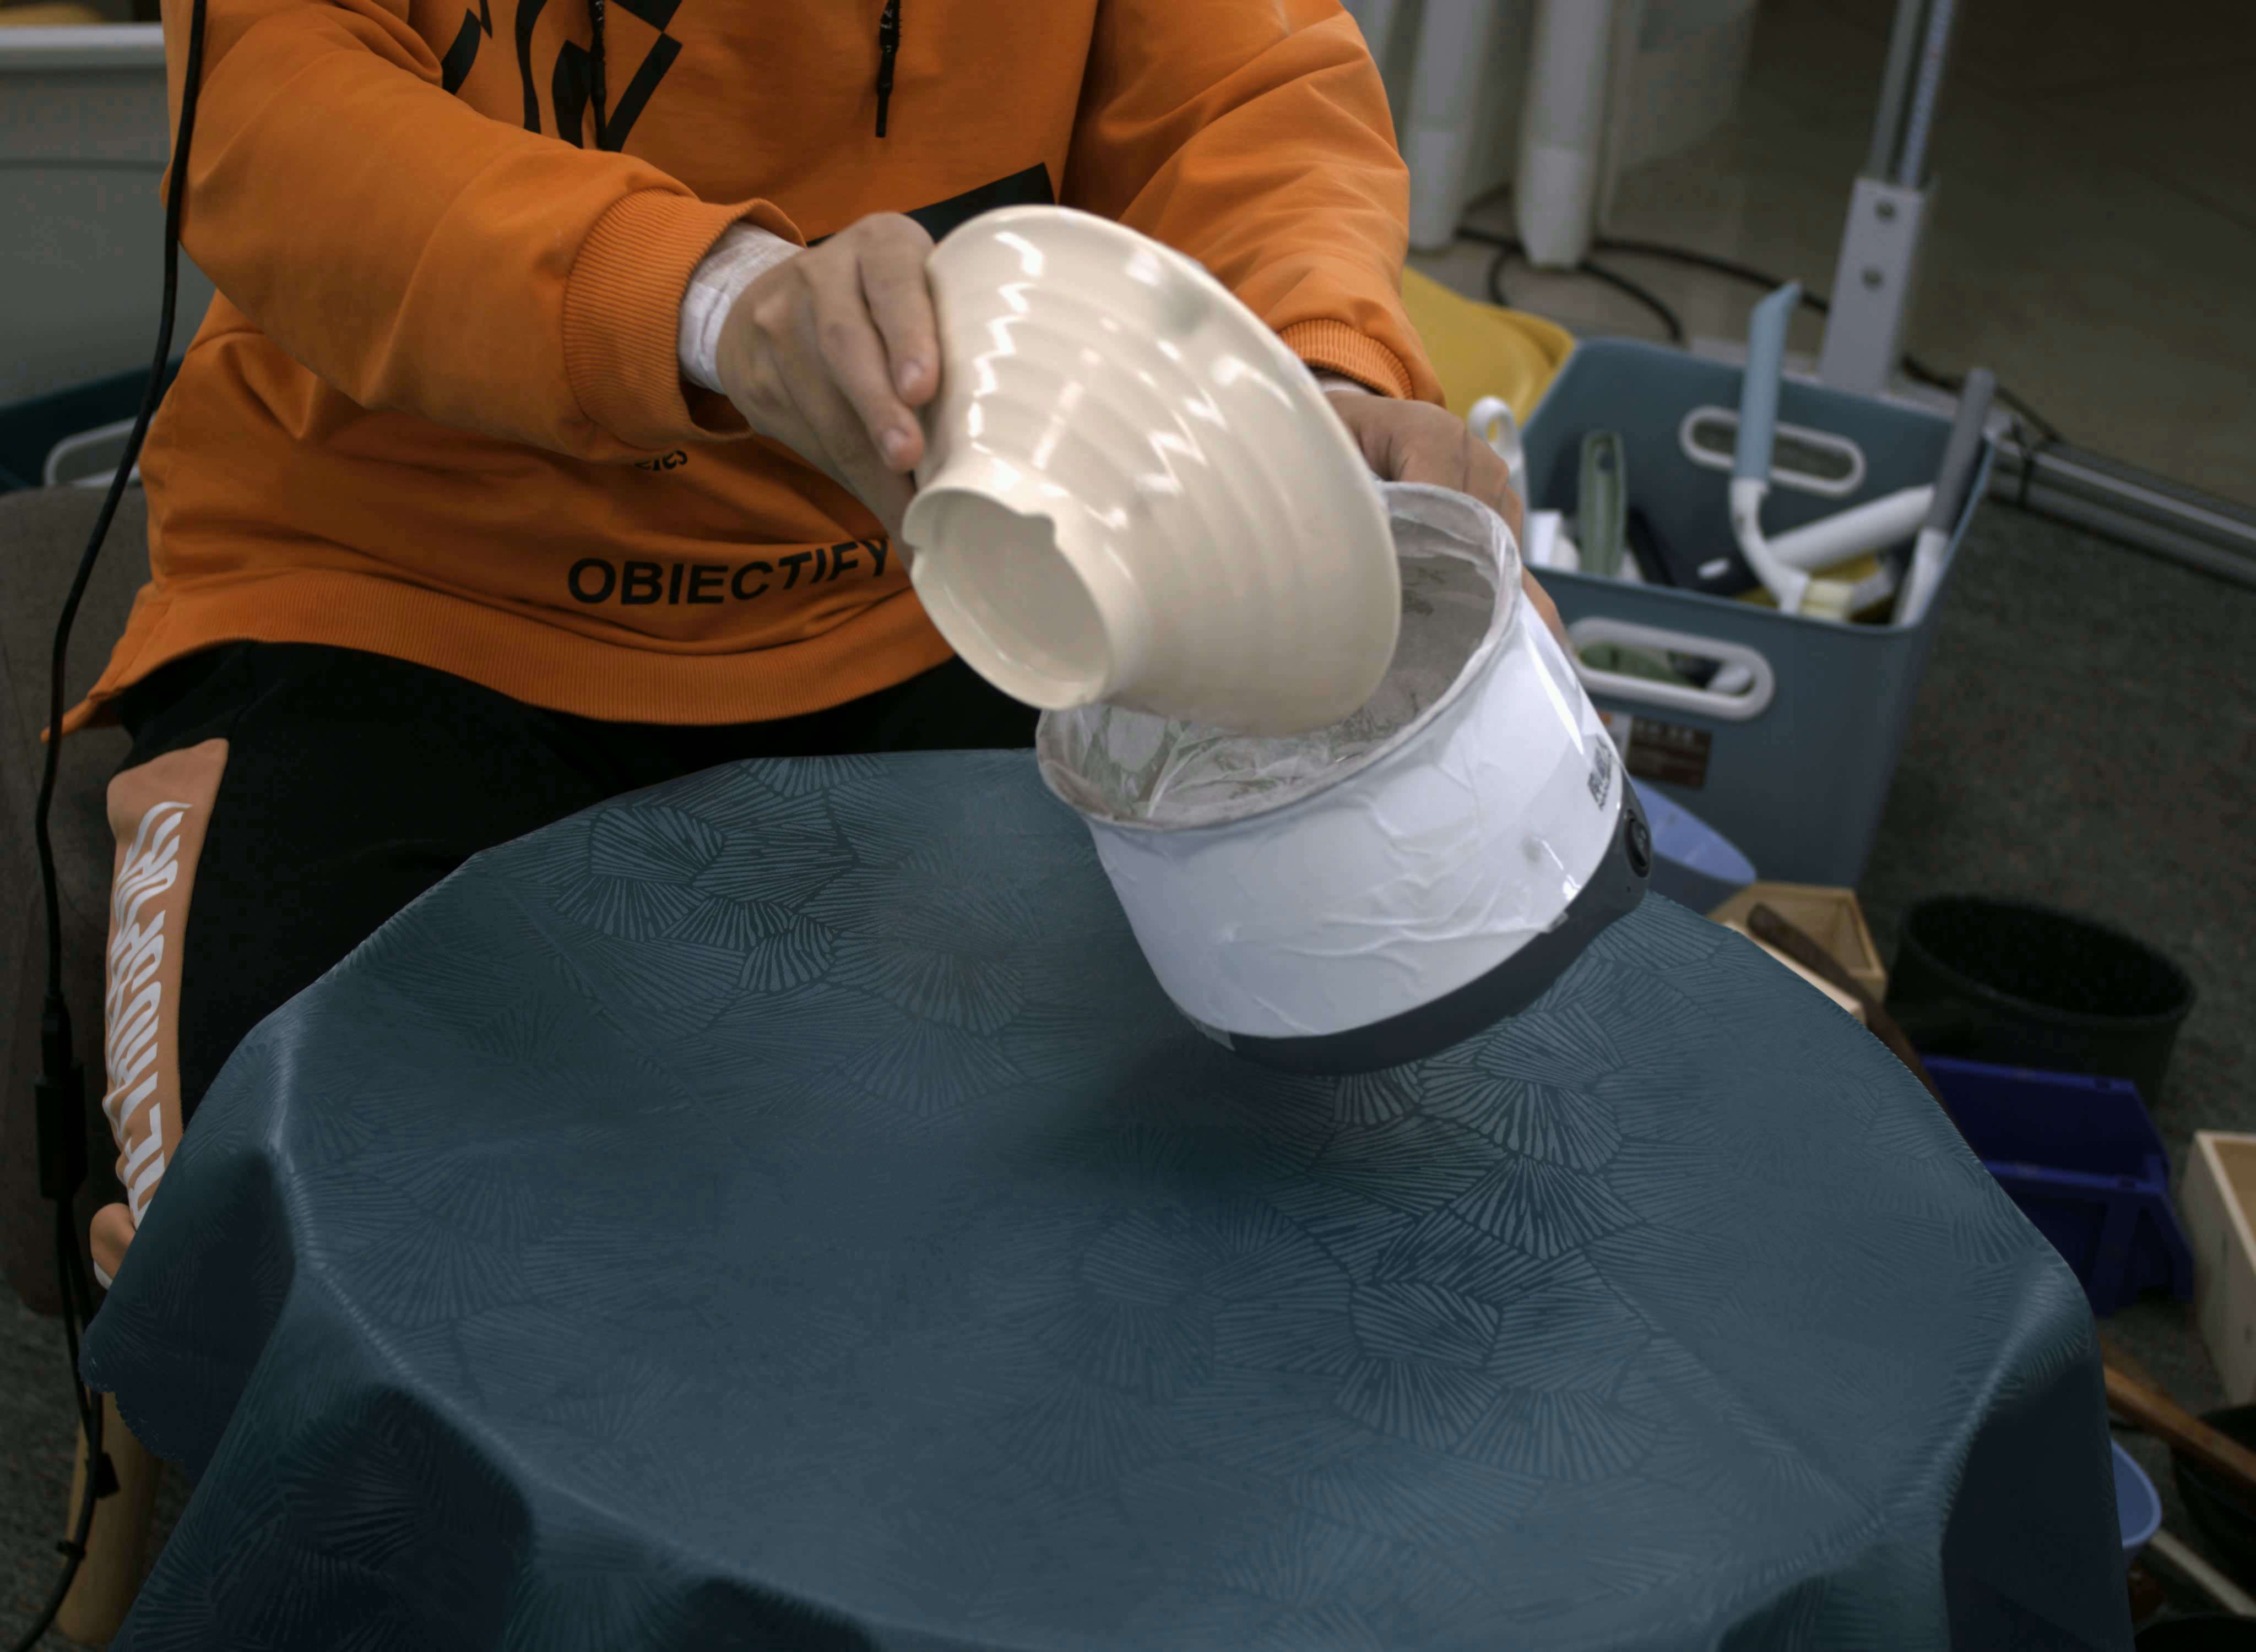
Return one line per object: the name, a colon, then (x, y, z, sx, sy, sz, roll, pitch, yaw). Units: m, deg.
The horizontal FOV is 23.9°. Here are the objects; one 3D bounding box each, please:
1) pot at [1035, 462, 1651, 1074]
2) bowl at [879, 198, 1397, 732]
pot: (0.078, -0.032, 1.833, 0.179, 0.135, 0.235, -14, 36, 21)
bowl: (-0.019, -0.094, 1.702, 0.205, 0.203, 0.078, 23, 49, 28)
